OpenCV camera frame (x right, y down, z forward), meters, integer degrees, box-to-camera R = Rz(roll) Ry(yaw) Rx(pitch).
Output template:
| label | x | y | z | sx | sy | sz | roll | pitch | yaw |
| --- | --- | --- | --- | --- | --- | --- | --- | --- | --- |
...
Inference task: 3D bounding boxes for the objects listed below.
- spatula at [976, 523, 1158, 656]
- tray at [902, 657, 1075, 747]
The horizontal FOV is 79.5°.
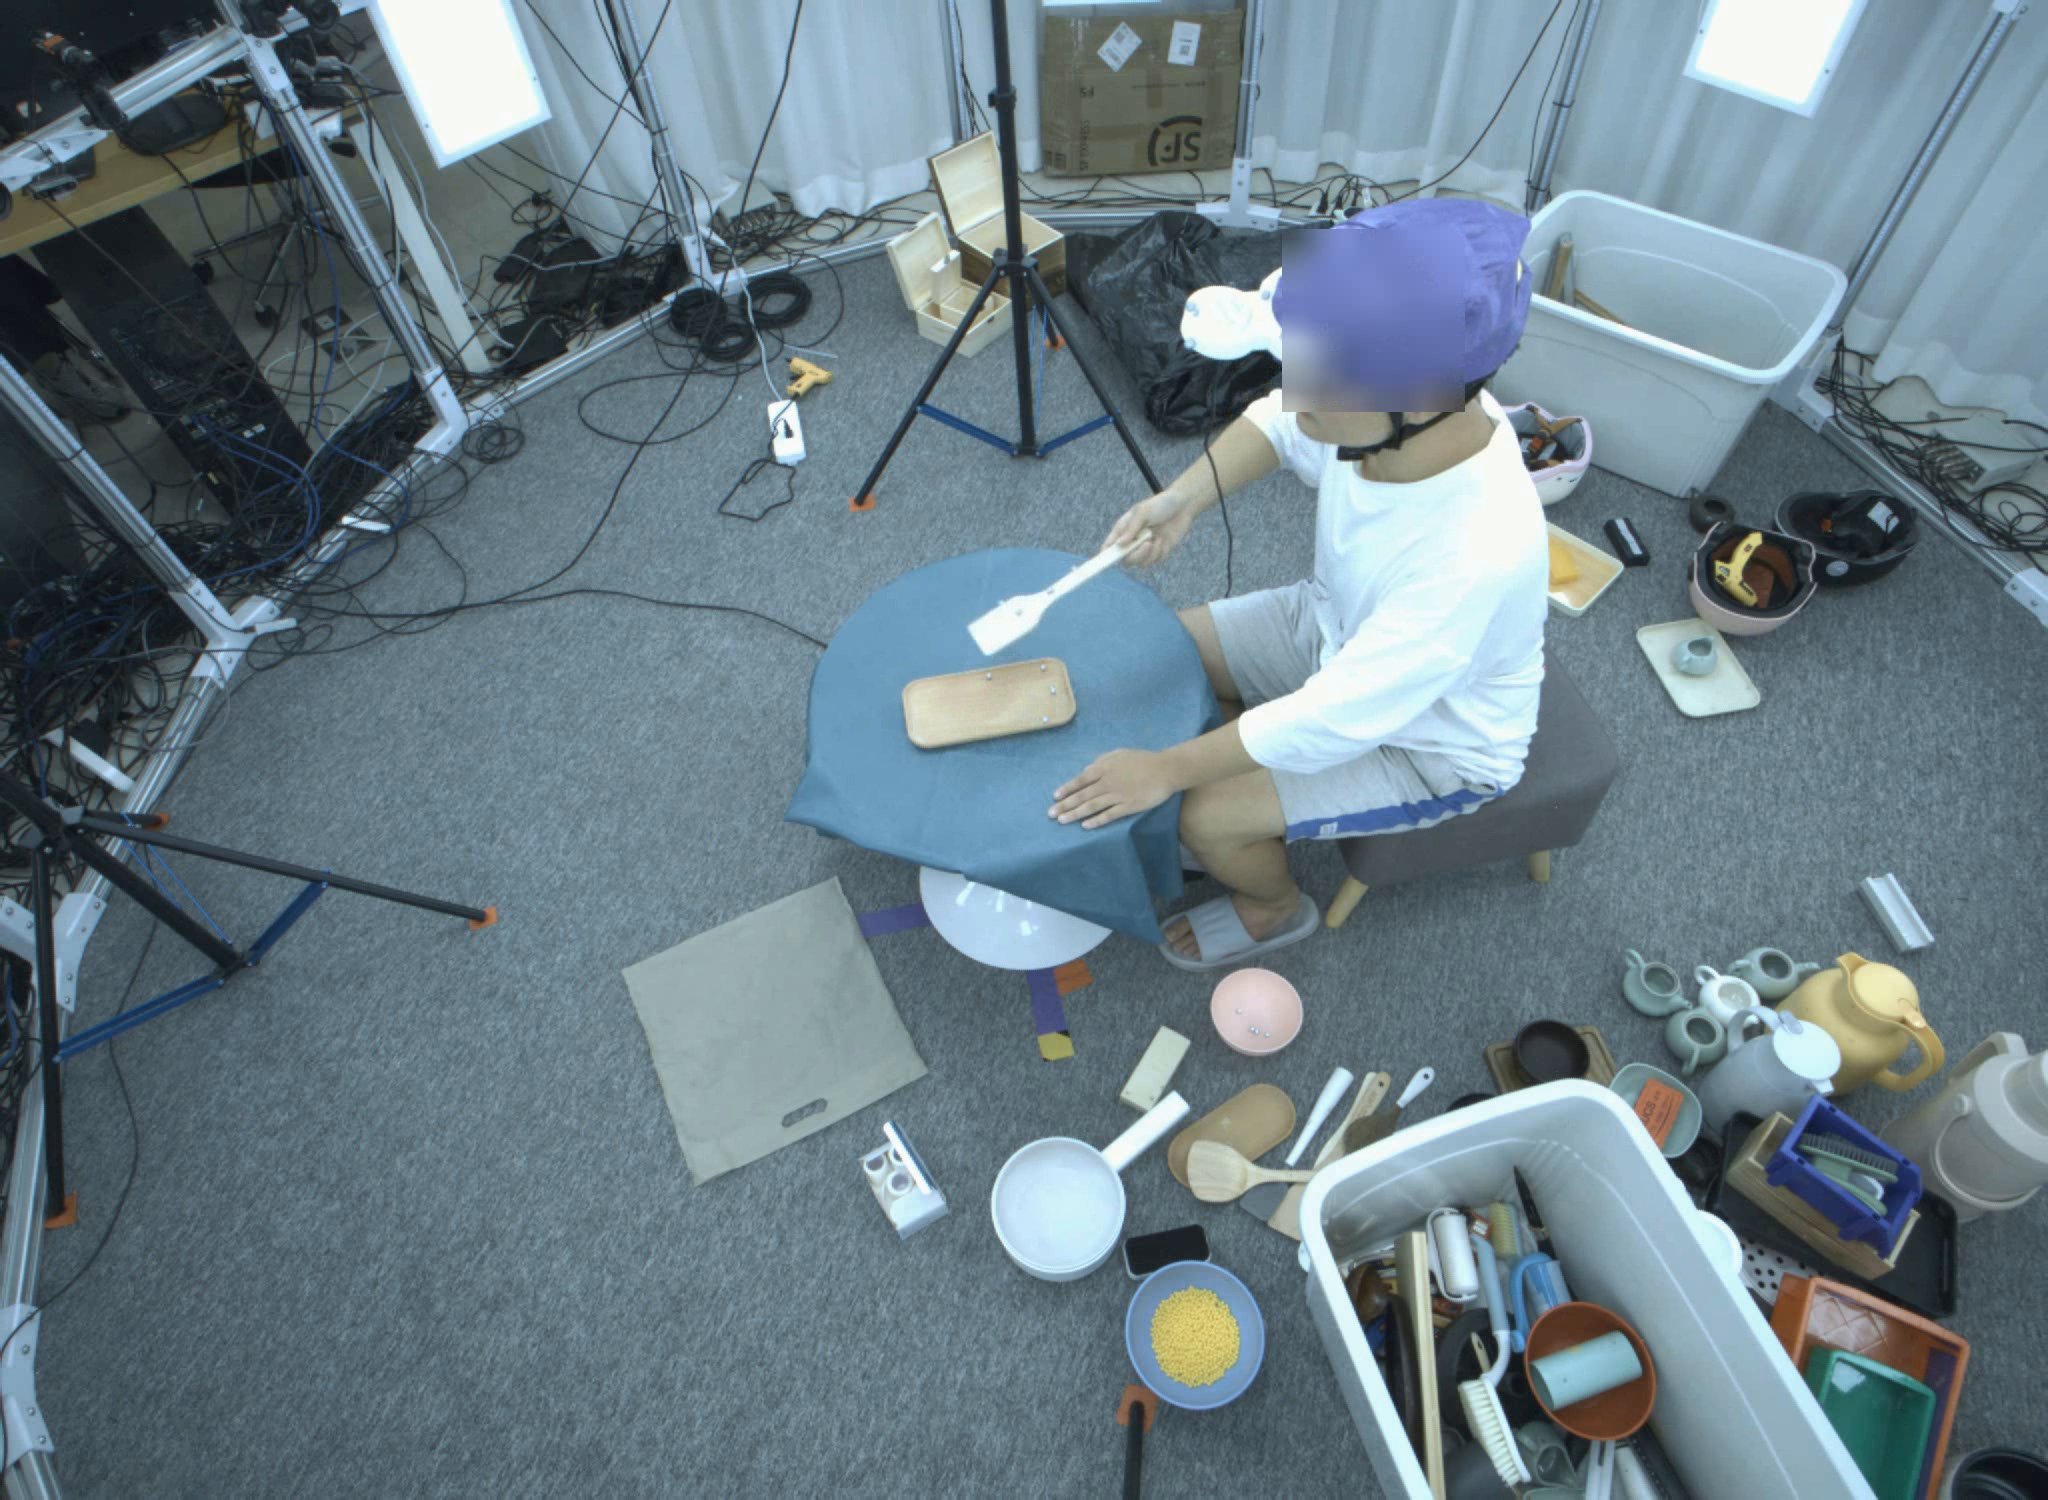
| label | x | y | z | sx | sy | sz | roll | pitch | yaw |
| --- | --- | --- | --- | --- | --- | --- | --- | --- | --- |
| spatula | 0.064 | -0.234 | 1.729 | 0.293 | 0.011 | 0.071 | -34 | 53 | 2 |
| tray | -0.054 | -0.071 | 1.827 | 0.251 | 0.023 | 0.128 | -9 | 52 | -4 |
